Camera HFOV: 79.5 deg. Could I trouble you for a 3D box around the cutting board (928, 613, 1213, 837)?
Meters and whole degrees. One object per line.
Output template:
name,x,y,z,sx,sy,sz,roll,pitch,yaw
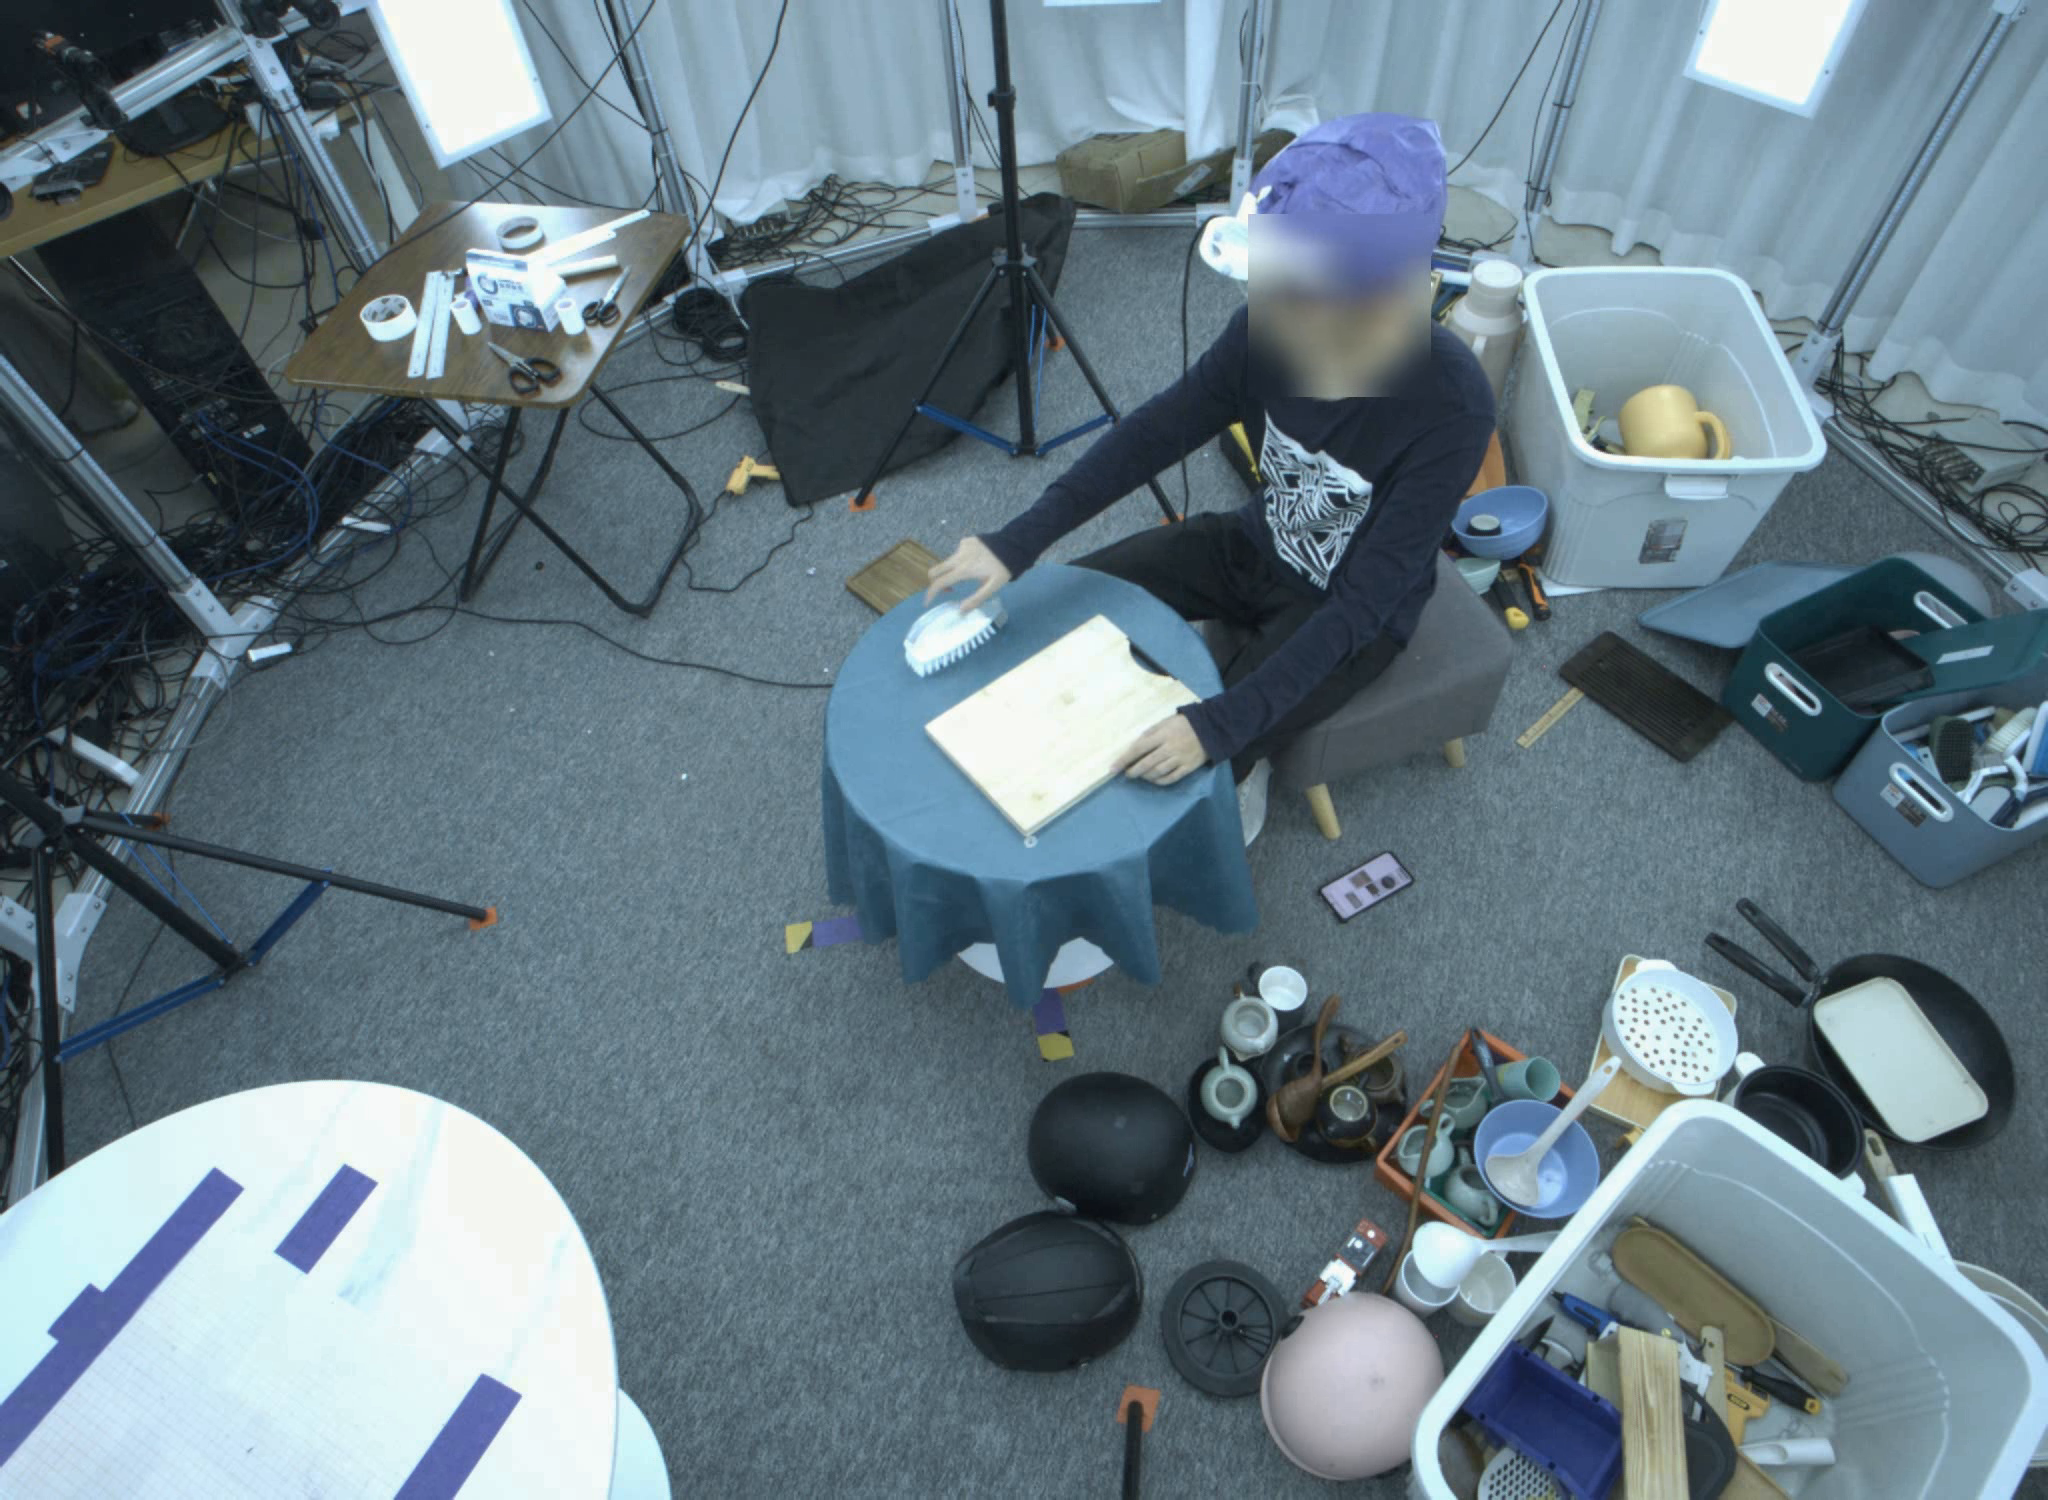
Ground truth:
cutting board,0.066,-0.047,1.801,0.351,0.024,0.246,-35,61,-21

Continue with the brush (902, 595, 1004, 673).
brush,-0.105,-0.194,1.865,0.177,0.095,0.060,-28,59,-19
